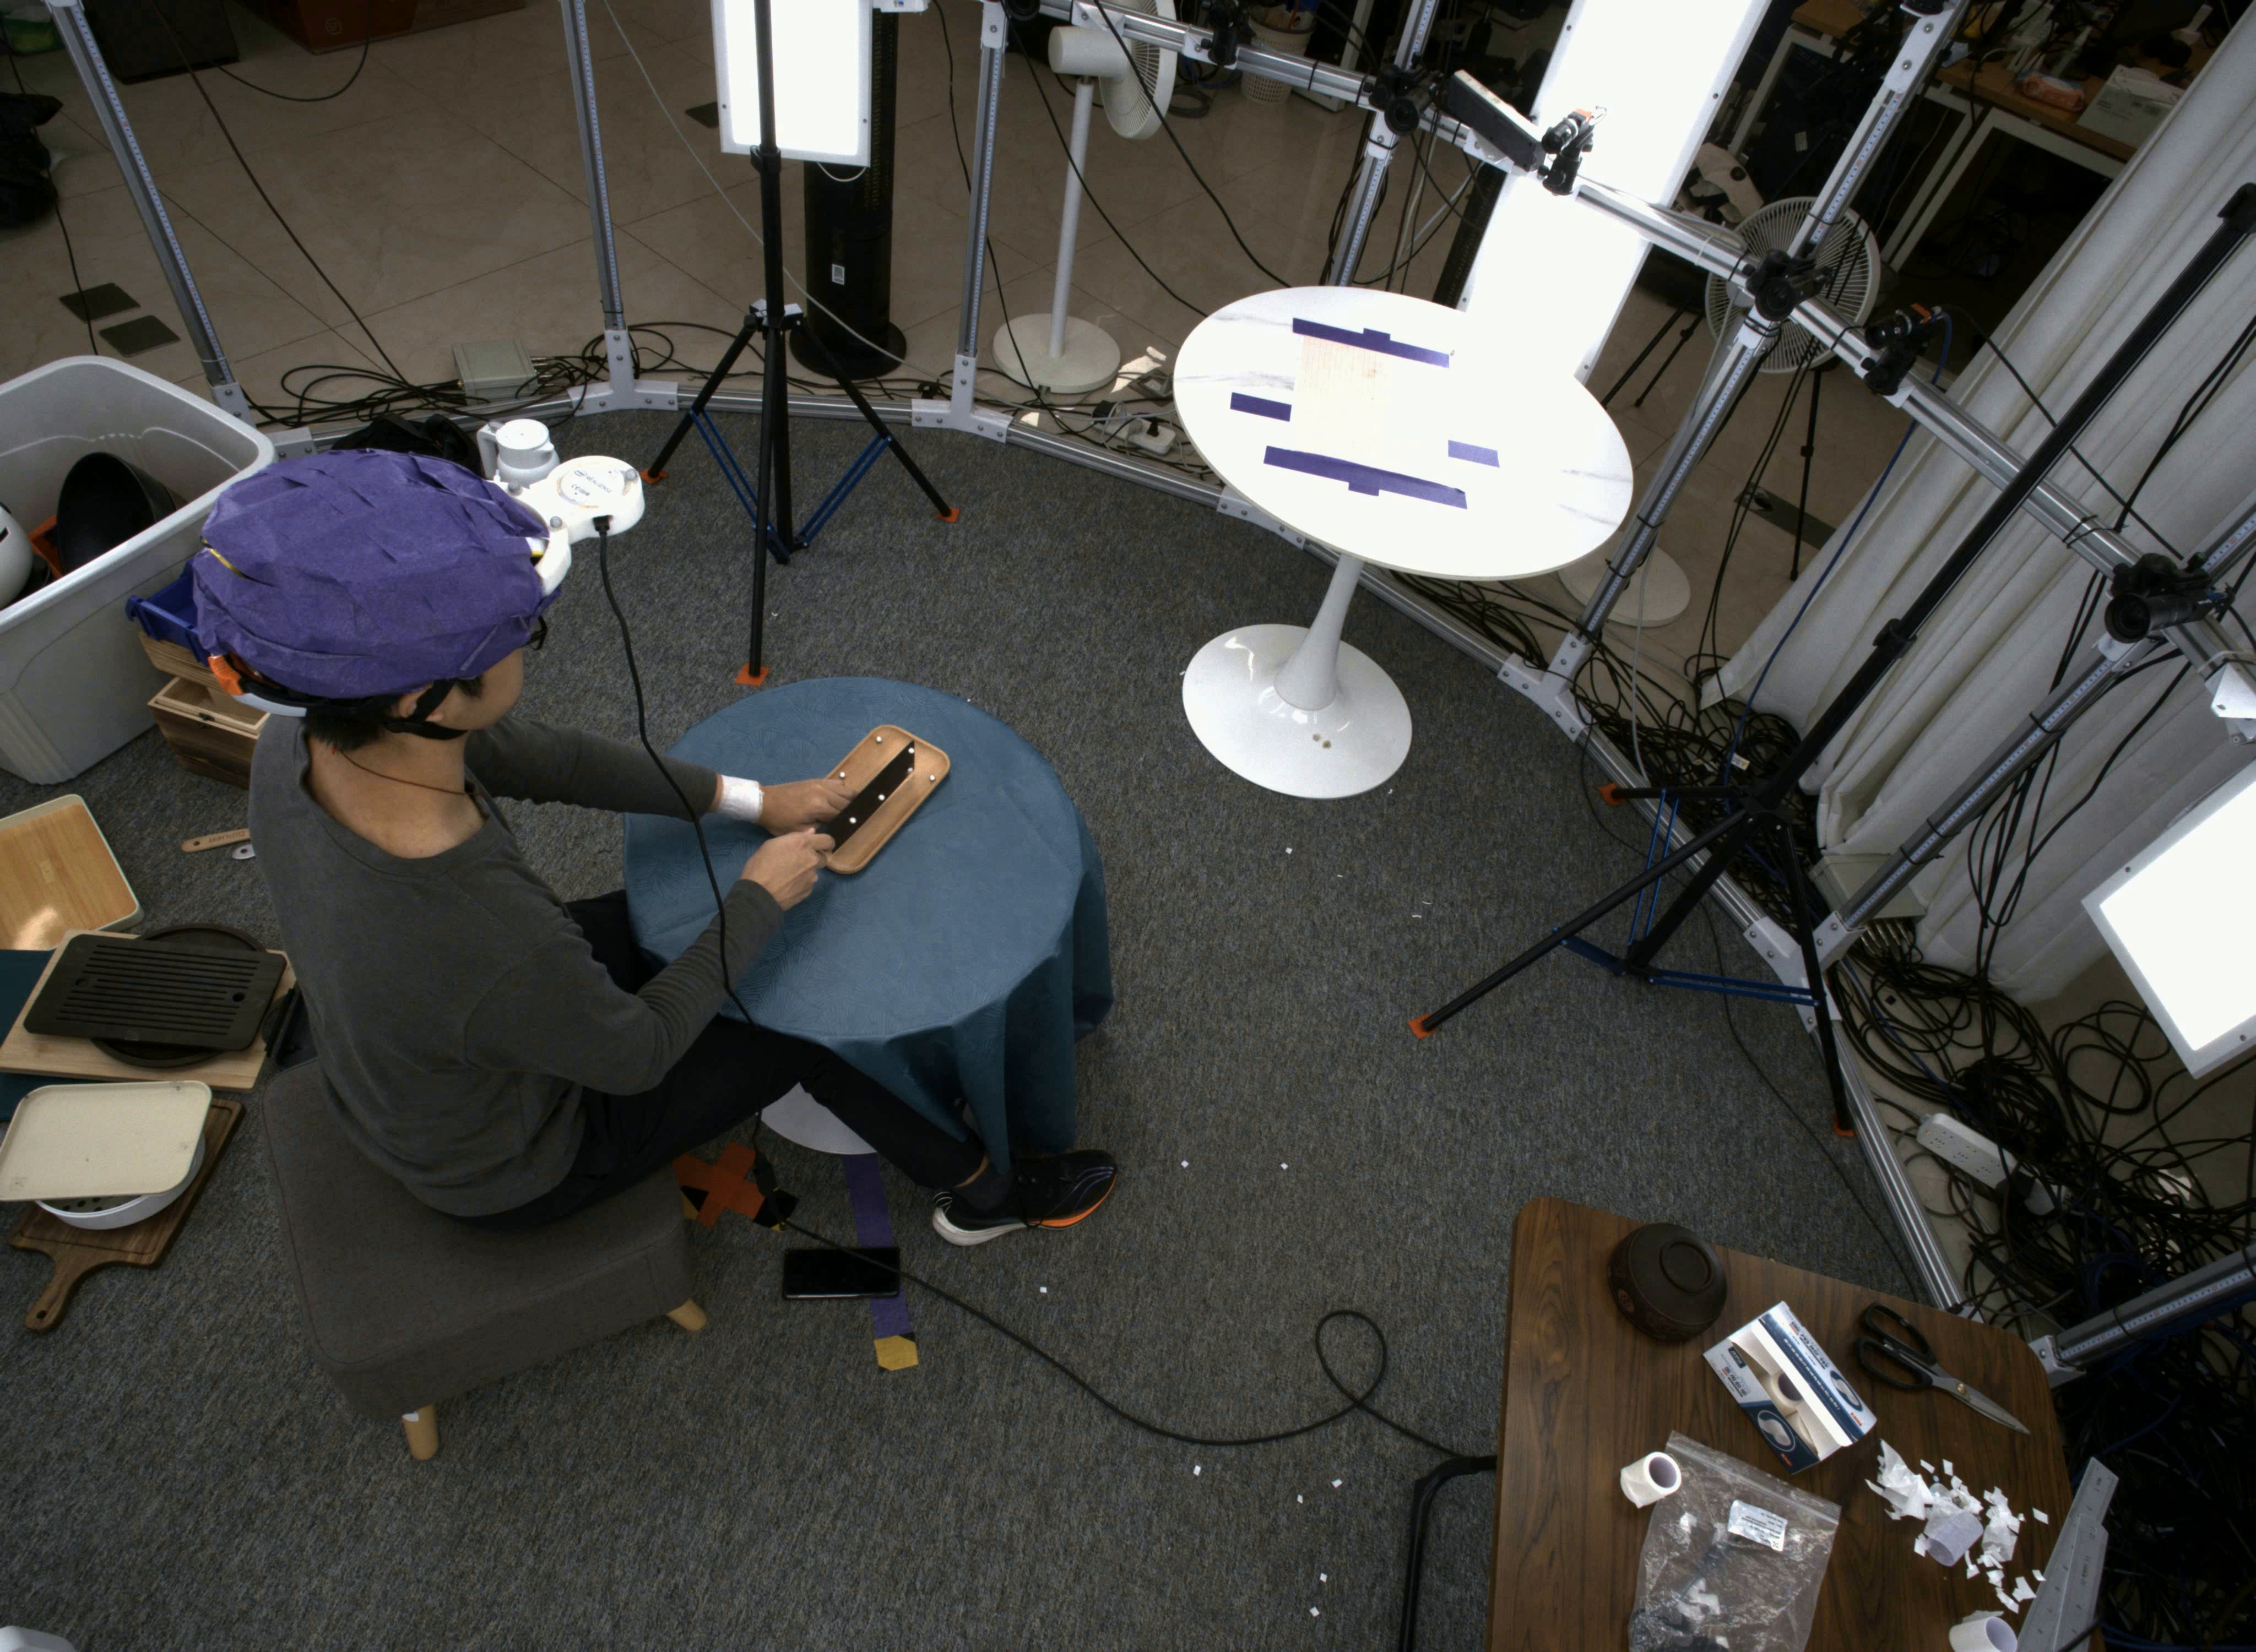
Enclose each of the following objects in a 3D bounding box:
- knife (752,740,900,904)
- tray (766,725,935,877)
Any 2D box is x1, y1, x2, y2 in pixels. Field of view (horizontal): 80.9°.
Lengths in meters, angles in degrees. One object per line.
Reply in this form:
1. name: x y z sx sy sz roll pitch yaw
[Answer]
1. knife: -0.385 -0.005 1.686 0.020 0.083 0.301 26 47 15
2. tray: -0.374 -0.037 1.765 0.128 0.023 0.250 28 54 10
